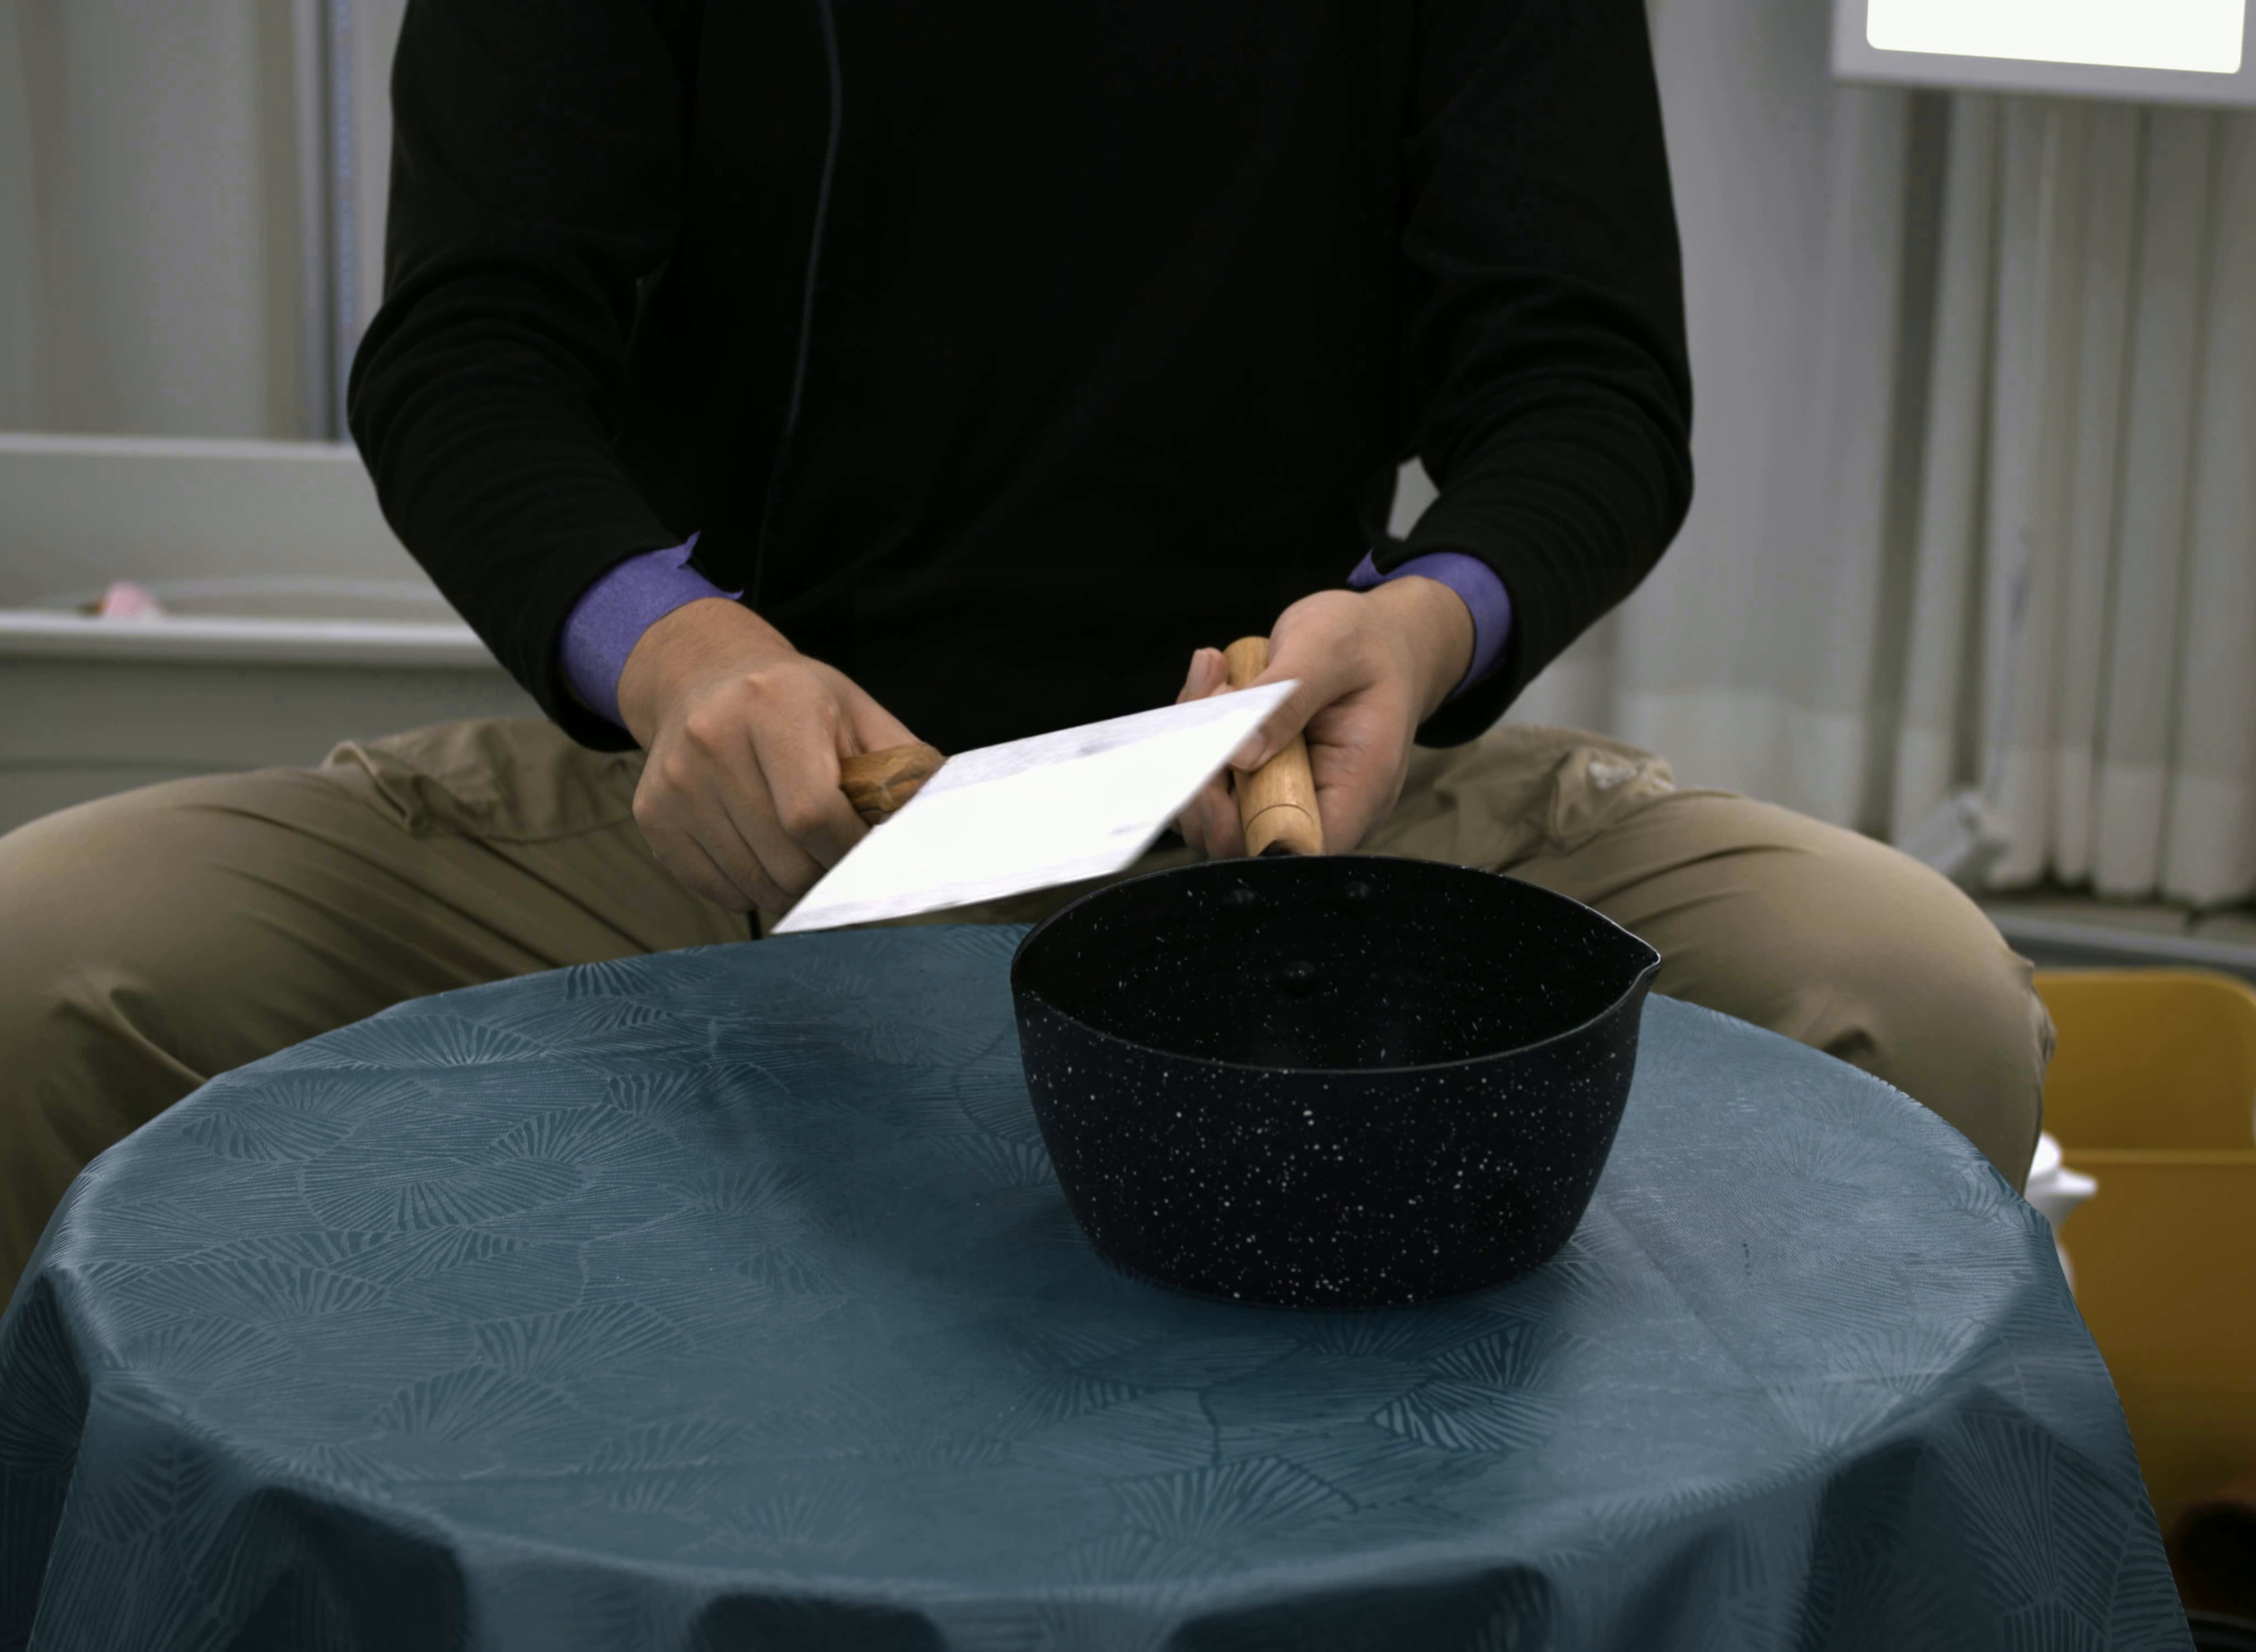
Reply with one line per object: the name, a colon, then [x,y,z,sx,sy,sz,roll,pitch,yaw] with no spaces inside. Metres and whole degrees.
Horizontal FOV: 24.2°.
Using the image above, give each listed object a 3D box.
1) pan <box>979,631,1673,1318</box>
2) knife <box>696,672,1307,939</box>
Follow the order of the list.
pan: [0.053,0.041,1.647,0.207,0.109,0.340,-2,21,-5]
knife: [-0.059,0.000,1.630,0.303,0.021,0.093,-12,30,53]
